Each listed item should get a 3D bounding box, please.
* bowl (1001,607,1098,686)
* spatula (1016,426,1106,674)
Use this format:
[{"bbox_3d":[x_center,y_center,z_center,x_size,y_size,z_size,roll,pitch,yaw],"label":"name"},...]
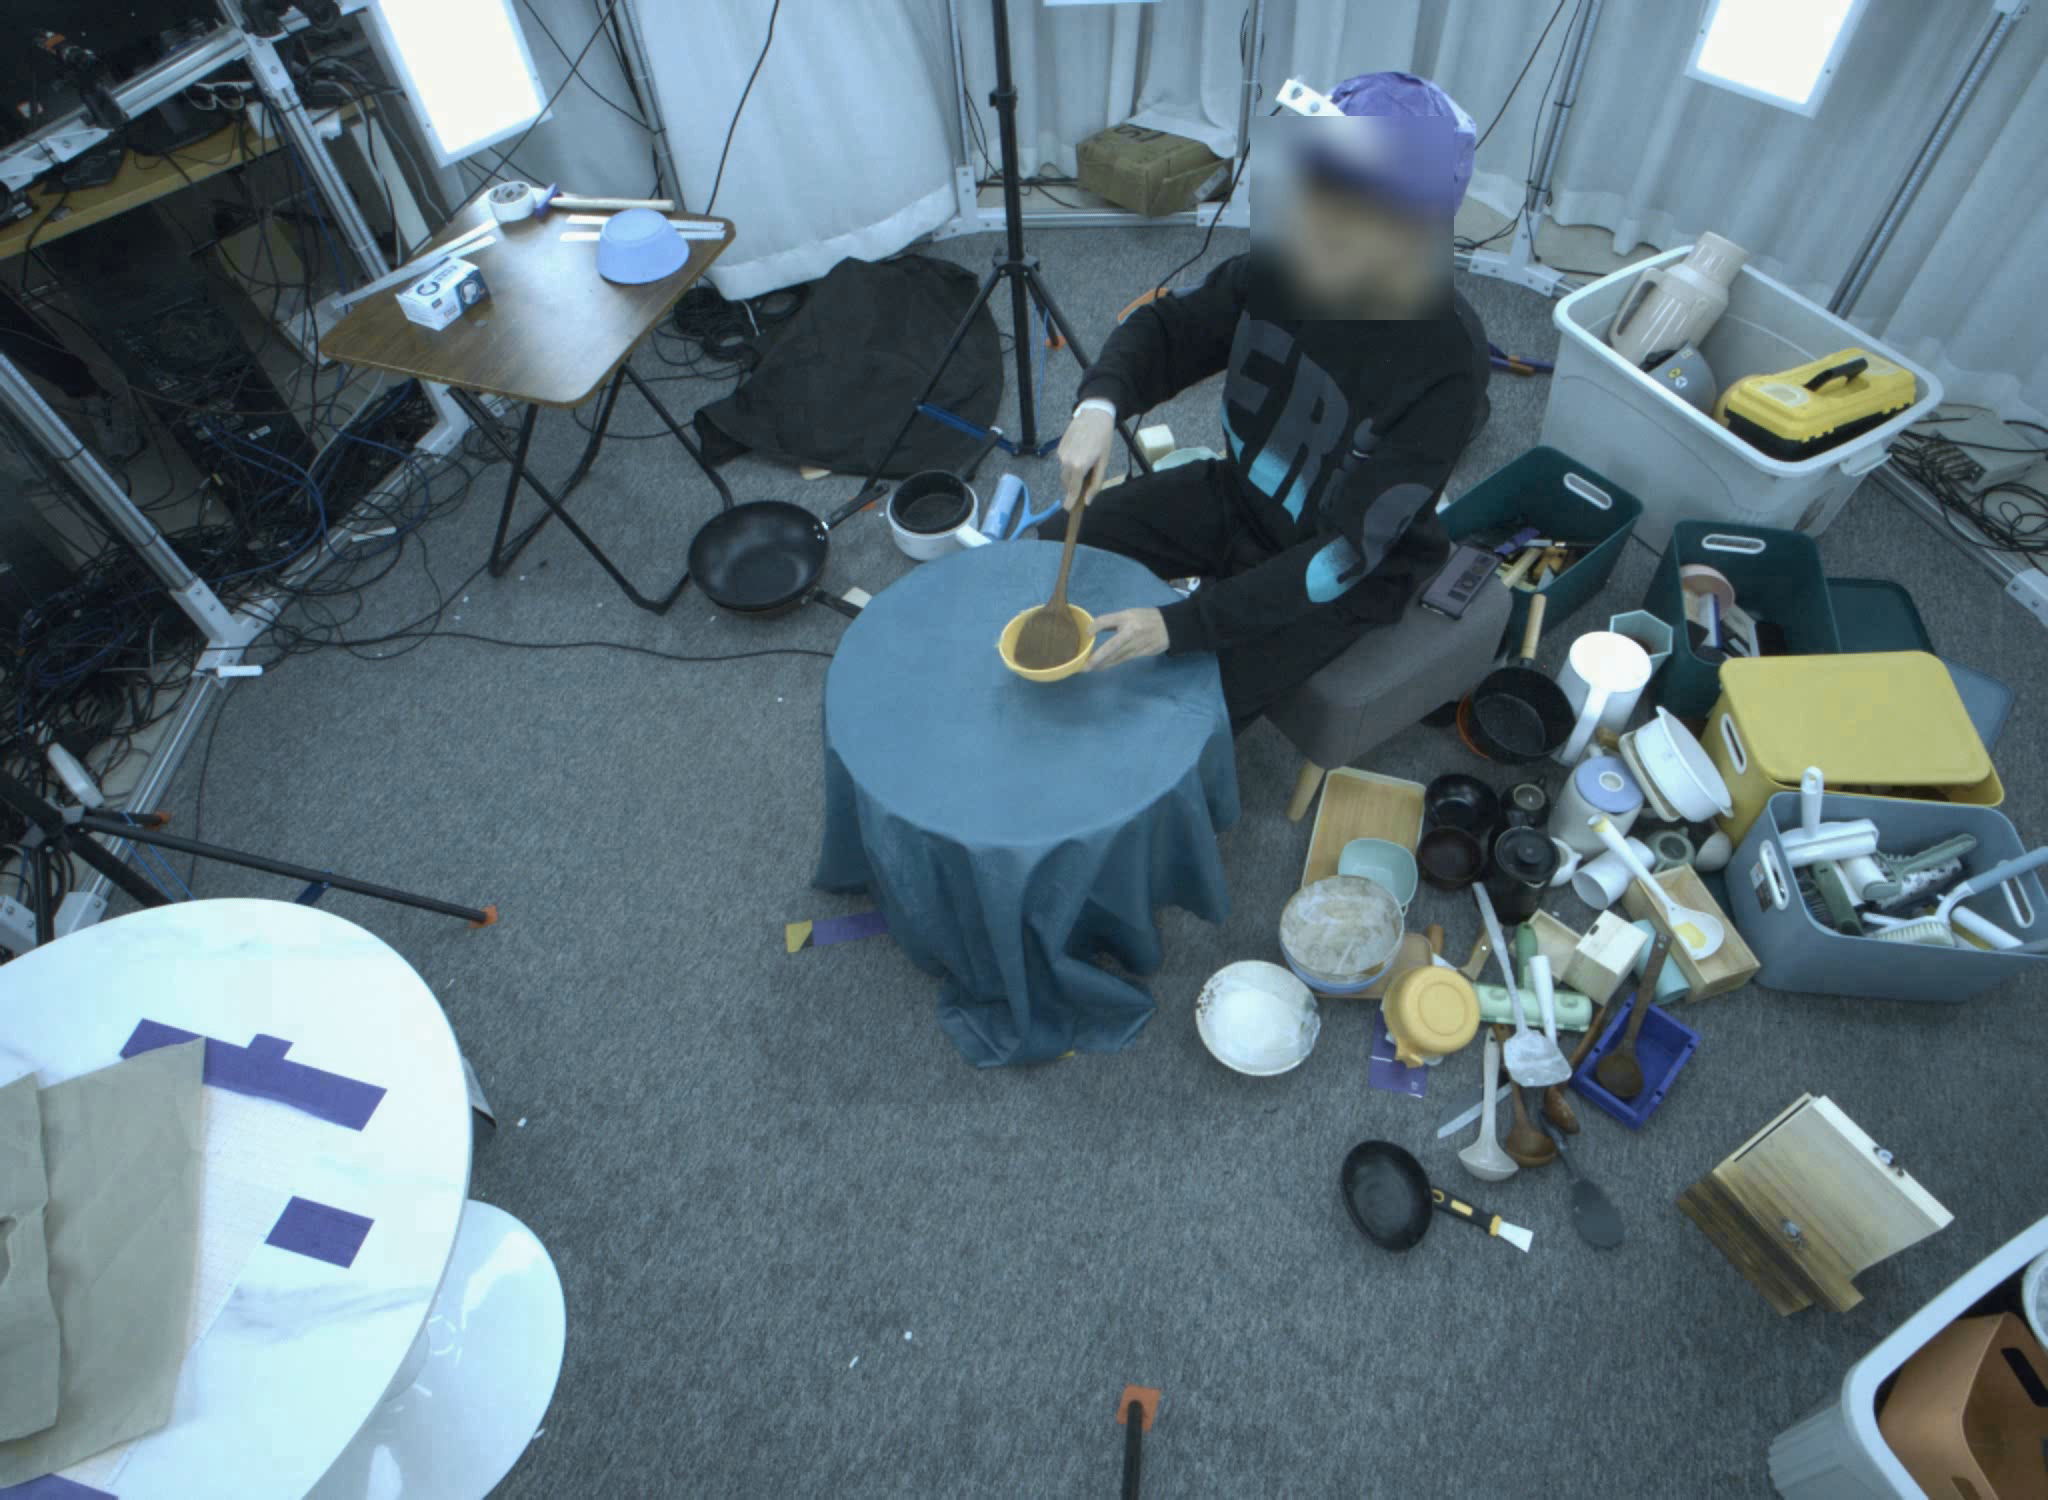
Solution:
[{"bbox_3d":[0.041,-0.142,1.820,0.145,0.061,0.144,-4,50,6],"label":"bowl"},{"bbox_3d":[0.069,-0.301,1.824,0.095,0.016,0.386,12,90,13],"label":"spatula"}]
